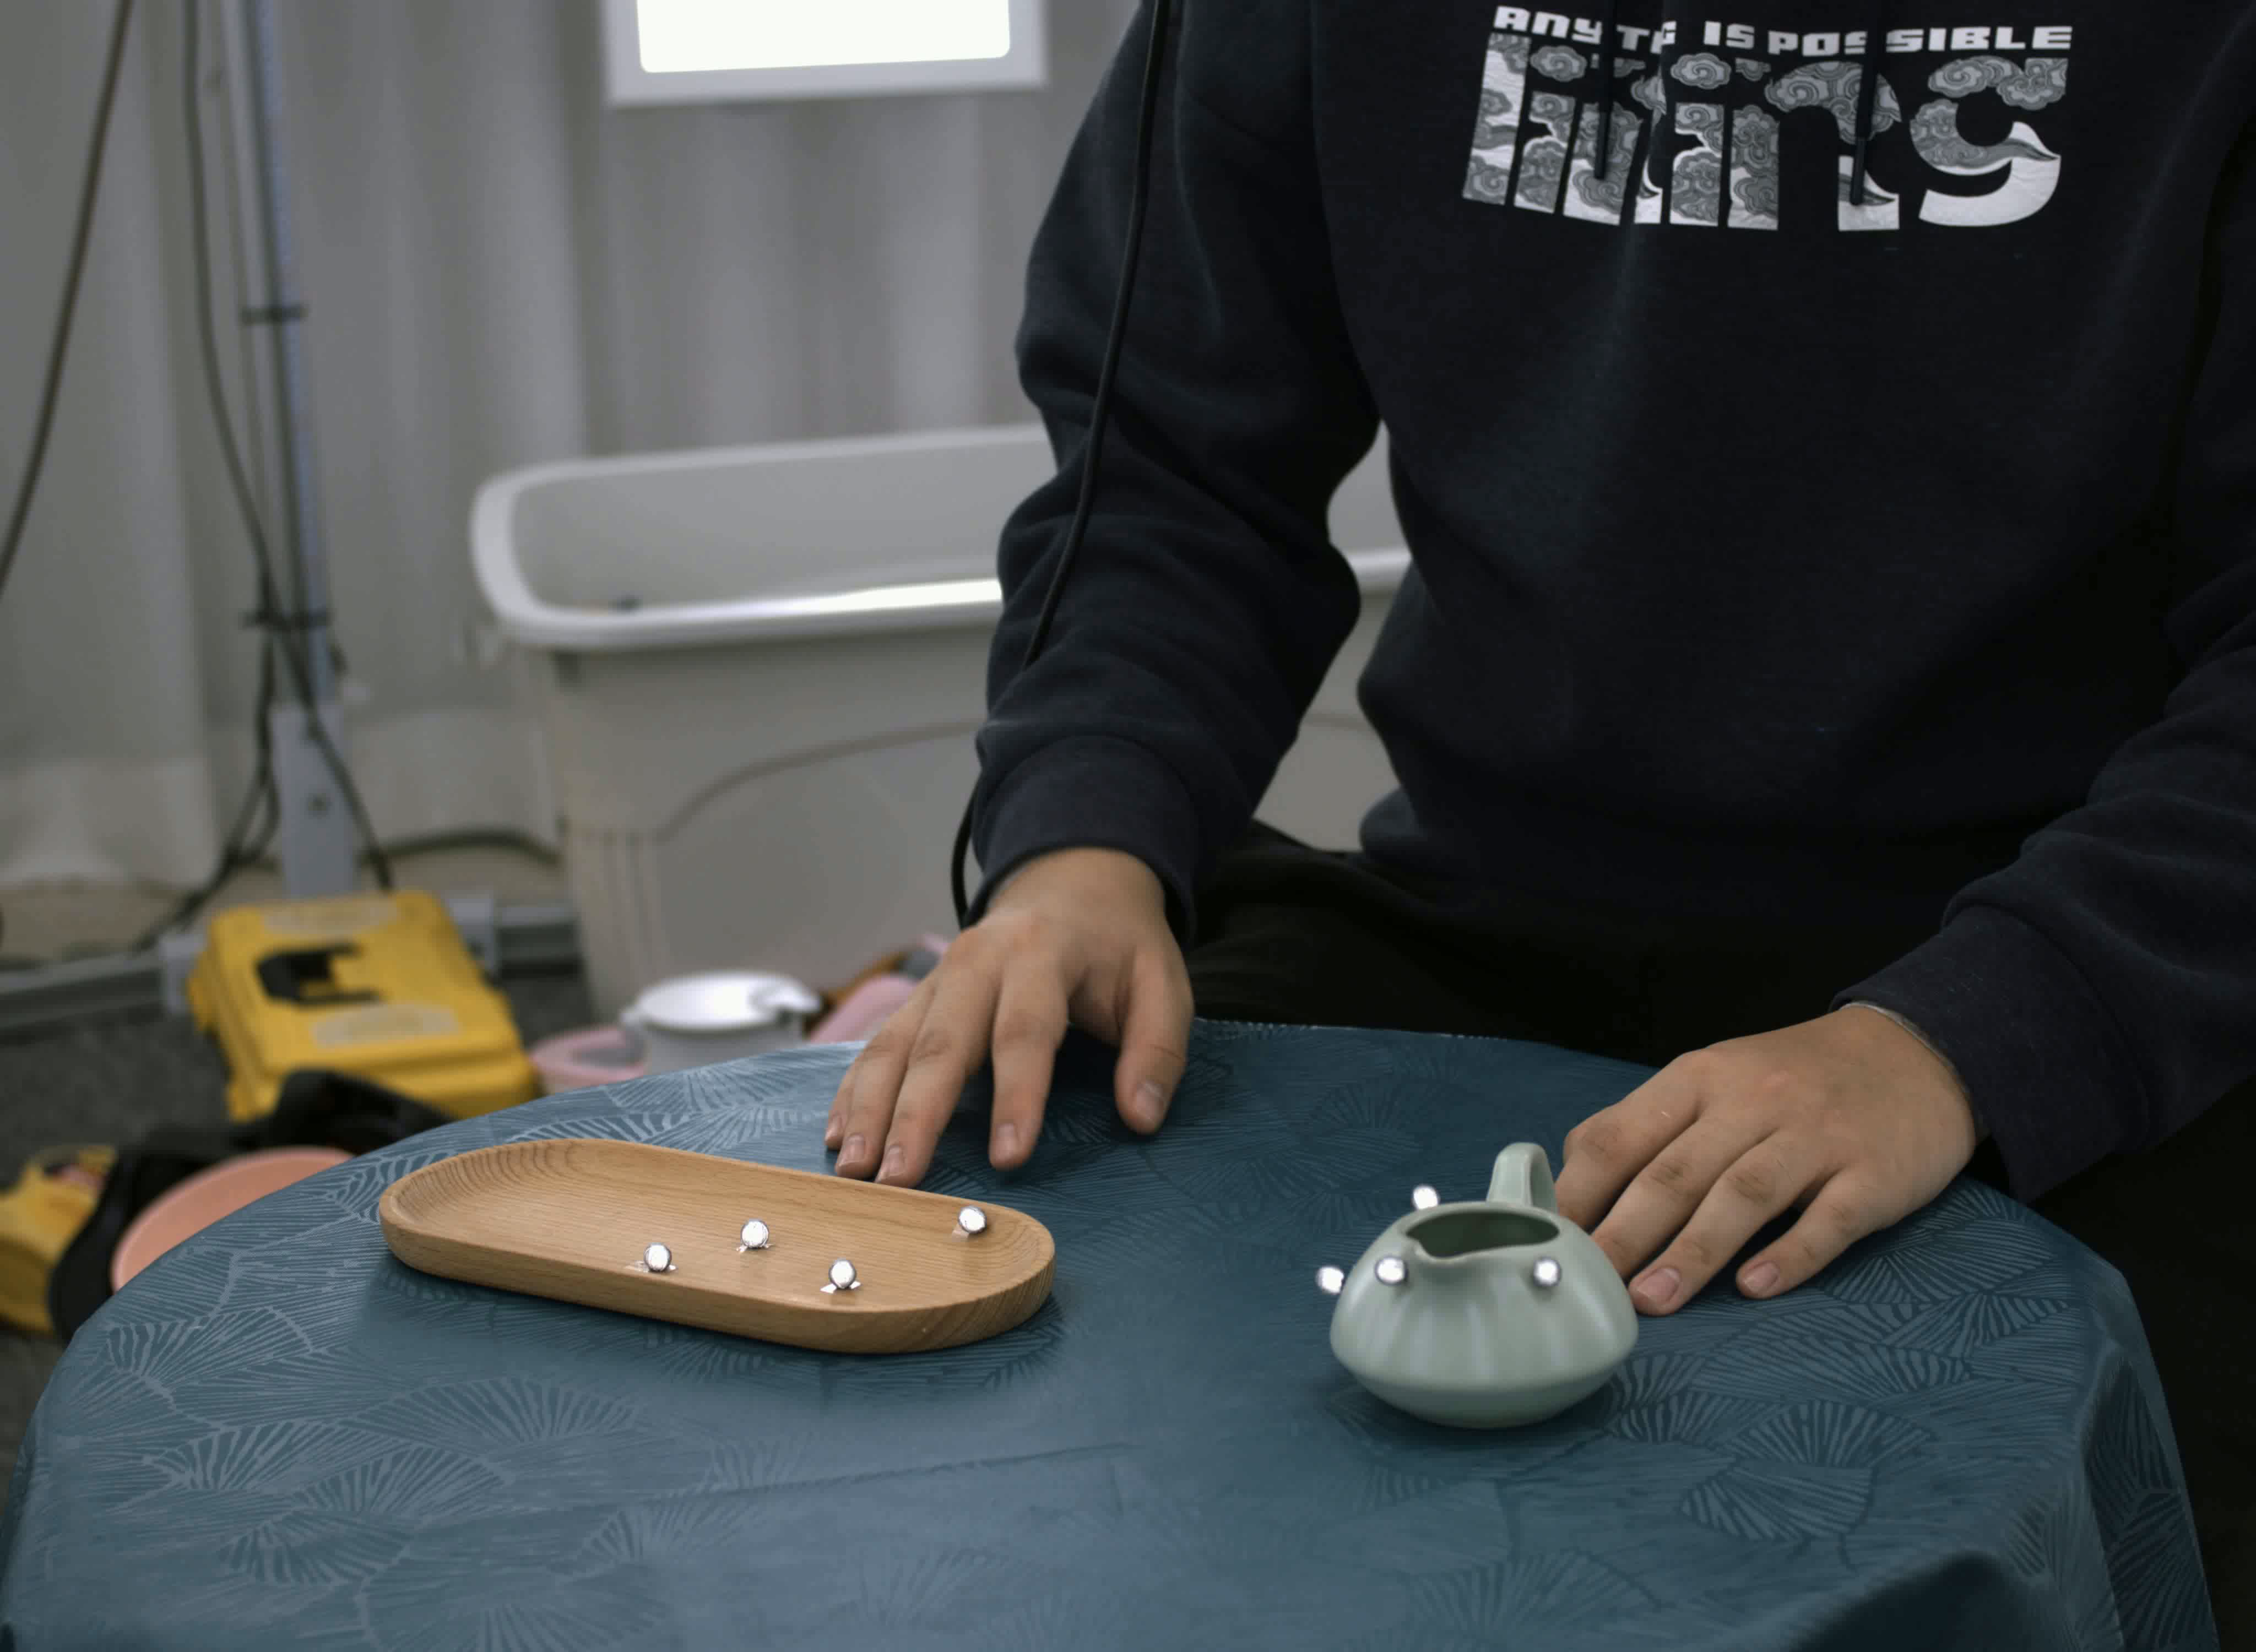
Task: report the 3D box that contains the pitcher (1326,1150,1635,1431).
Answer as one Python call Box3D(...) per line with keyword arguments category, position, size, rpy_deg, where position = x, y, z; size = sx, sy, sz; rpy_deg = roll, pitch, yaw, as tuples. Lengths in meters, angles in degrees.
Box3D(category="pitcher", position=(0.101, 0.131, 1.533), size=(0.086, 0.060, 0.108), rpy_deg=(3, 13, 16))

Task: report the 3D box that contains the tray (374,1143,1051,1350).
Box3D(category="tray", position=(-0.128, 0.127, 1.663), size=(0.232, 0.020, 0.101), rpy_deg=(5, 15, 33))
